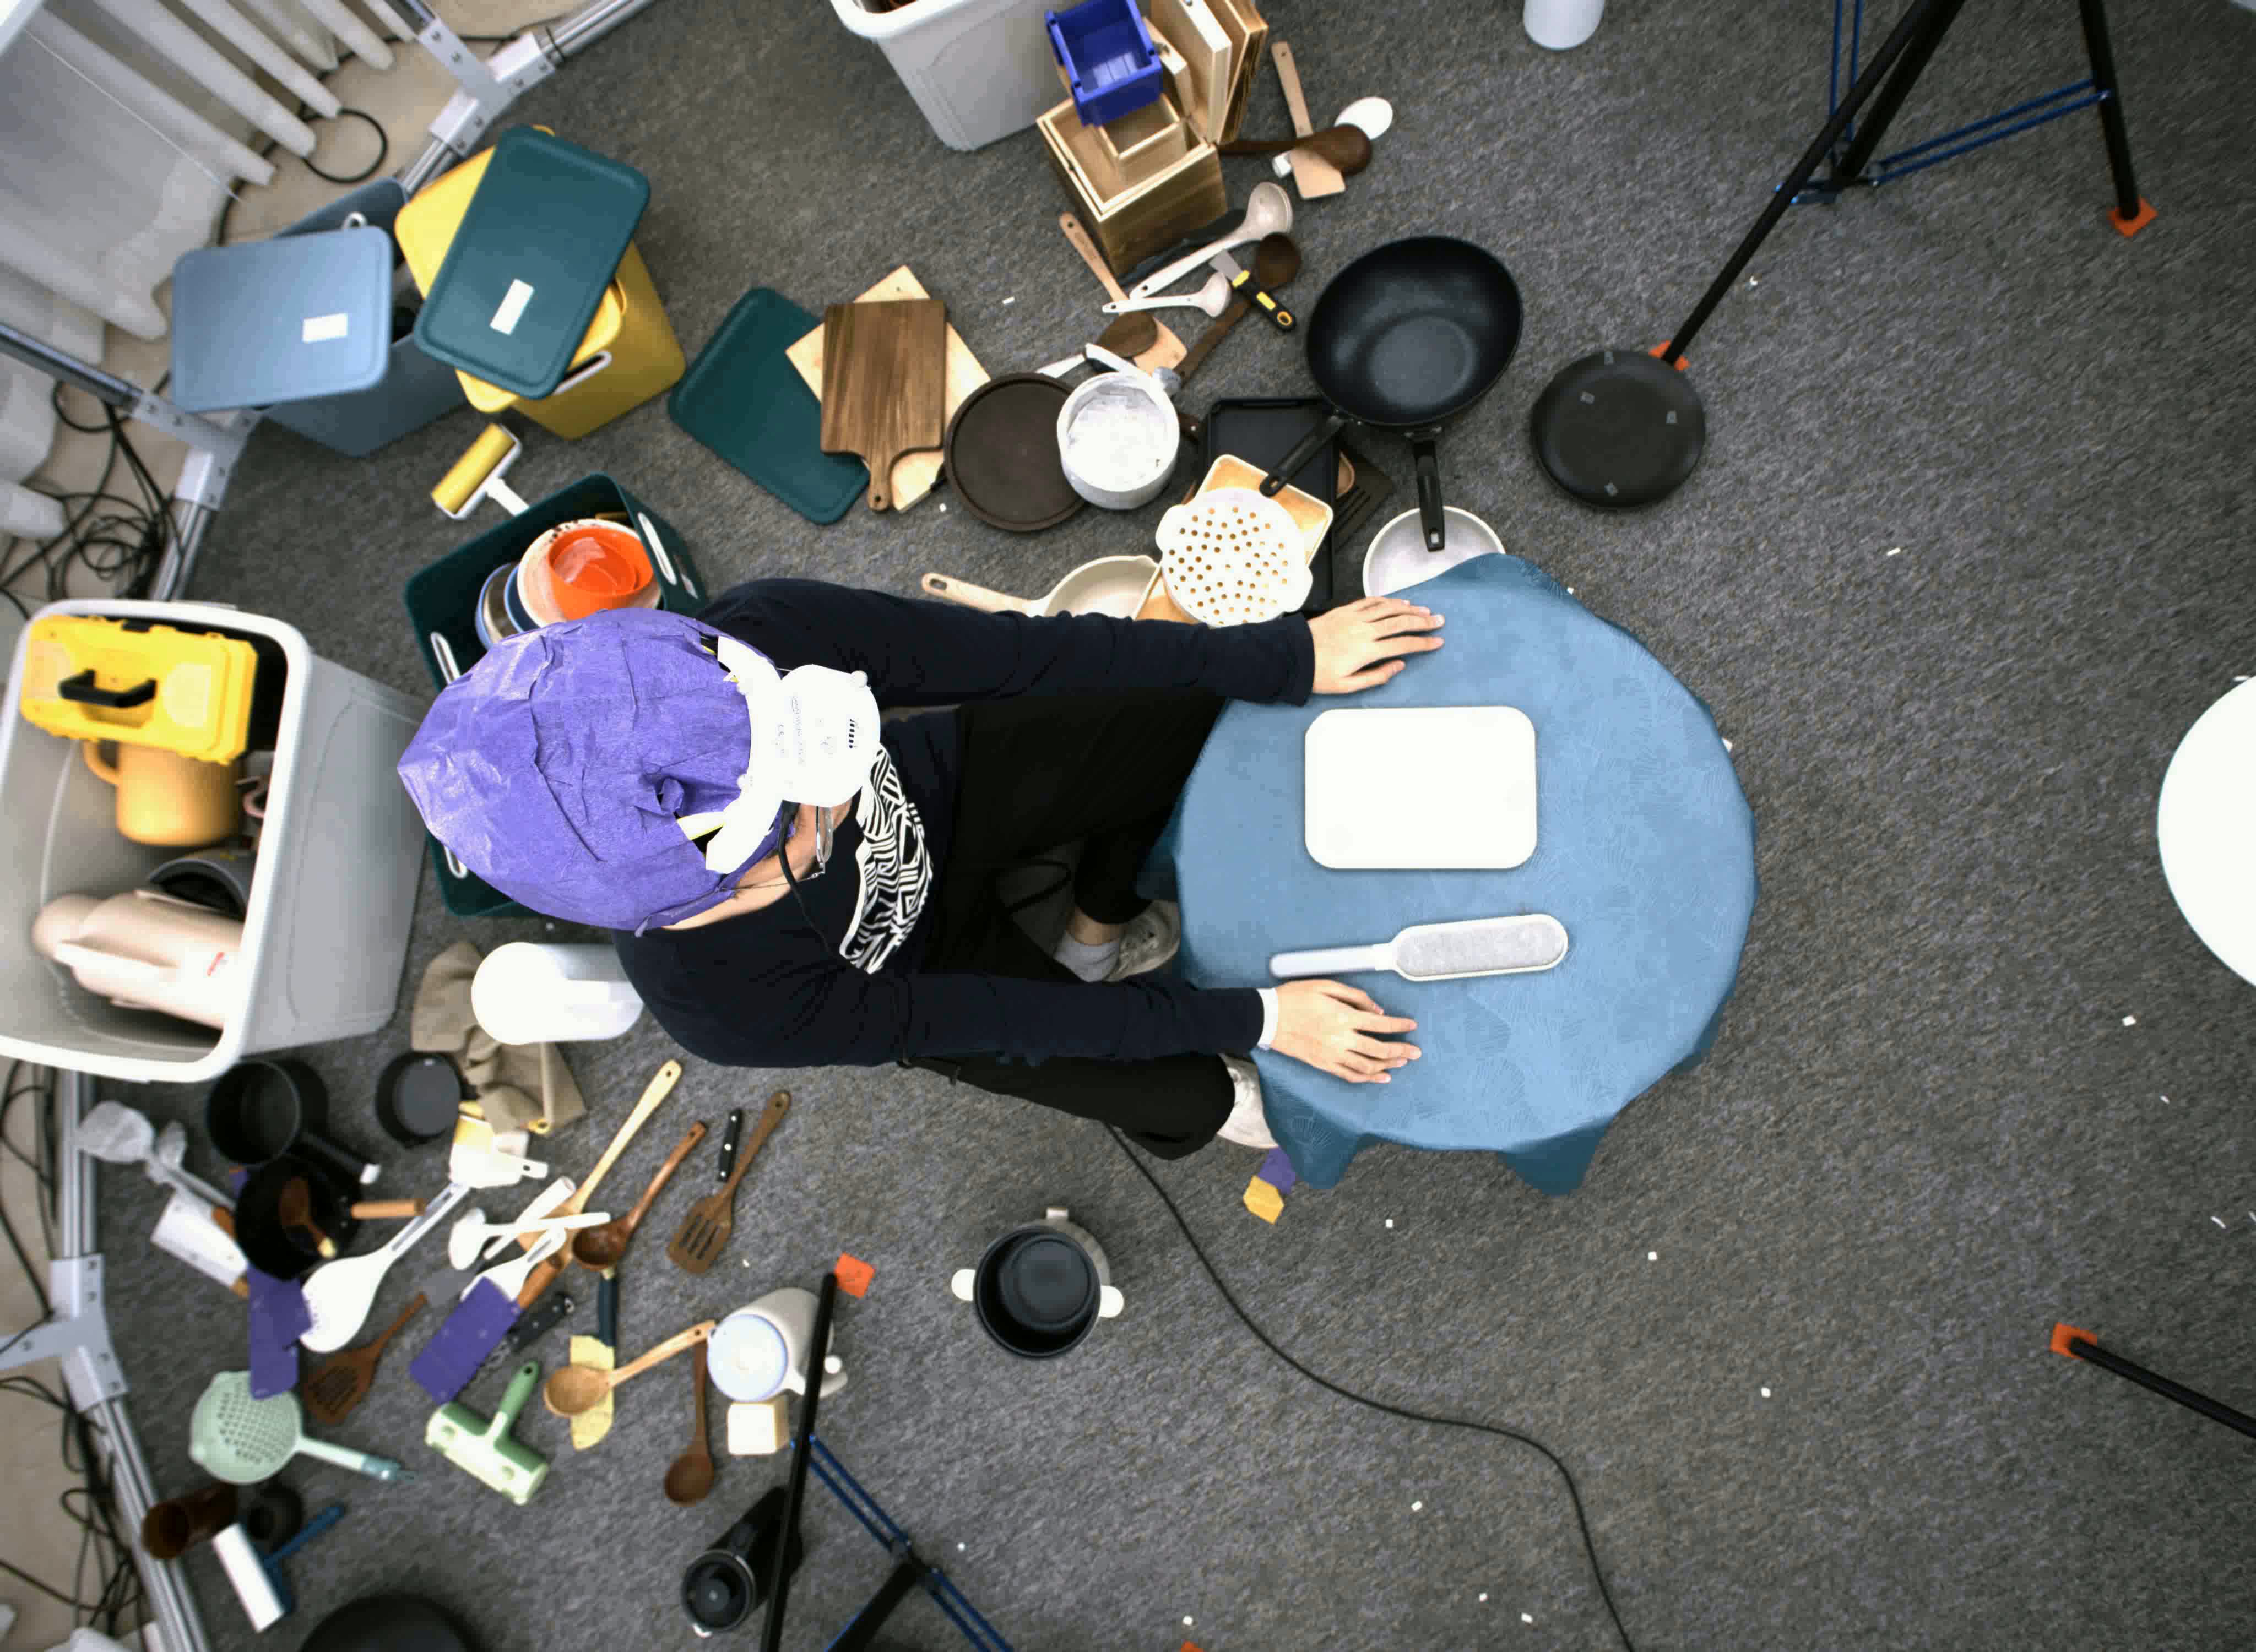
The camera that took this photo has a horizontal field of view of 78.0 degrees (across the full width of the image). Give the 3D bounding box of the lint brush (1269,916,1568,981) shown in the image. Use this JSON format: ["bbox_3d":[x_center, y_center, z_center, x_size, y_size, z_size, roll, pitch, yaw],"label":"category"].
[{"bbox_3d":[0.300,0.130,1.437,0.310,0.021,0.060,-6,91,10],"label":"lint brush"}]

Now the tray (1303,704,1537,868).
[{"bbox_3d":[0.306,-0.042,1.451,0.240,0.017,0.170,-1,87,11],"label":"tray"}]
